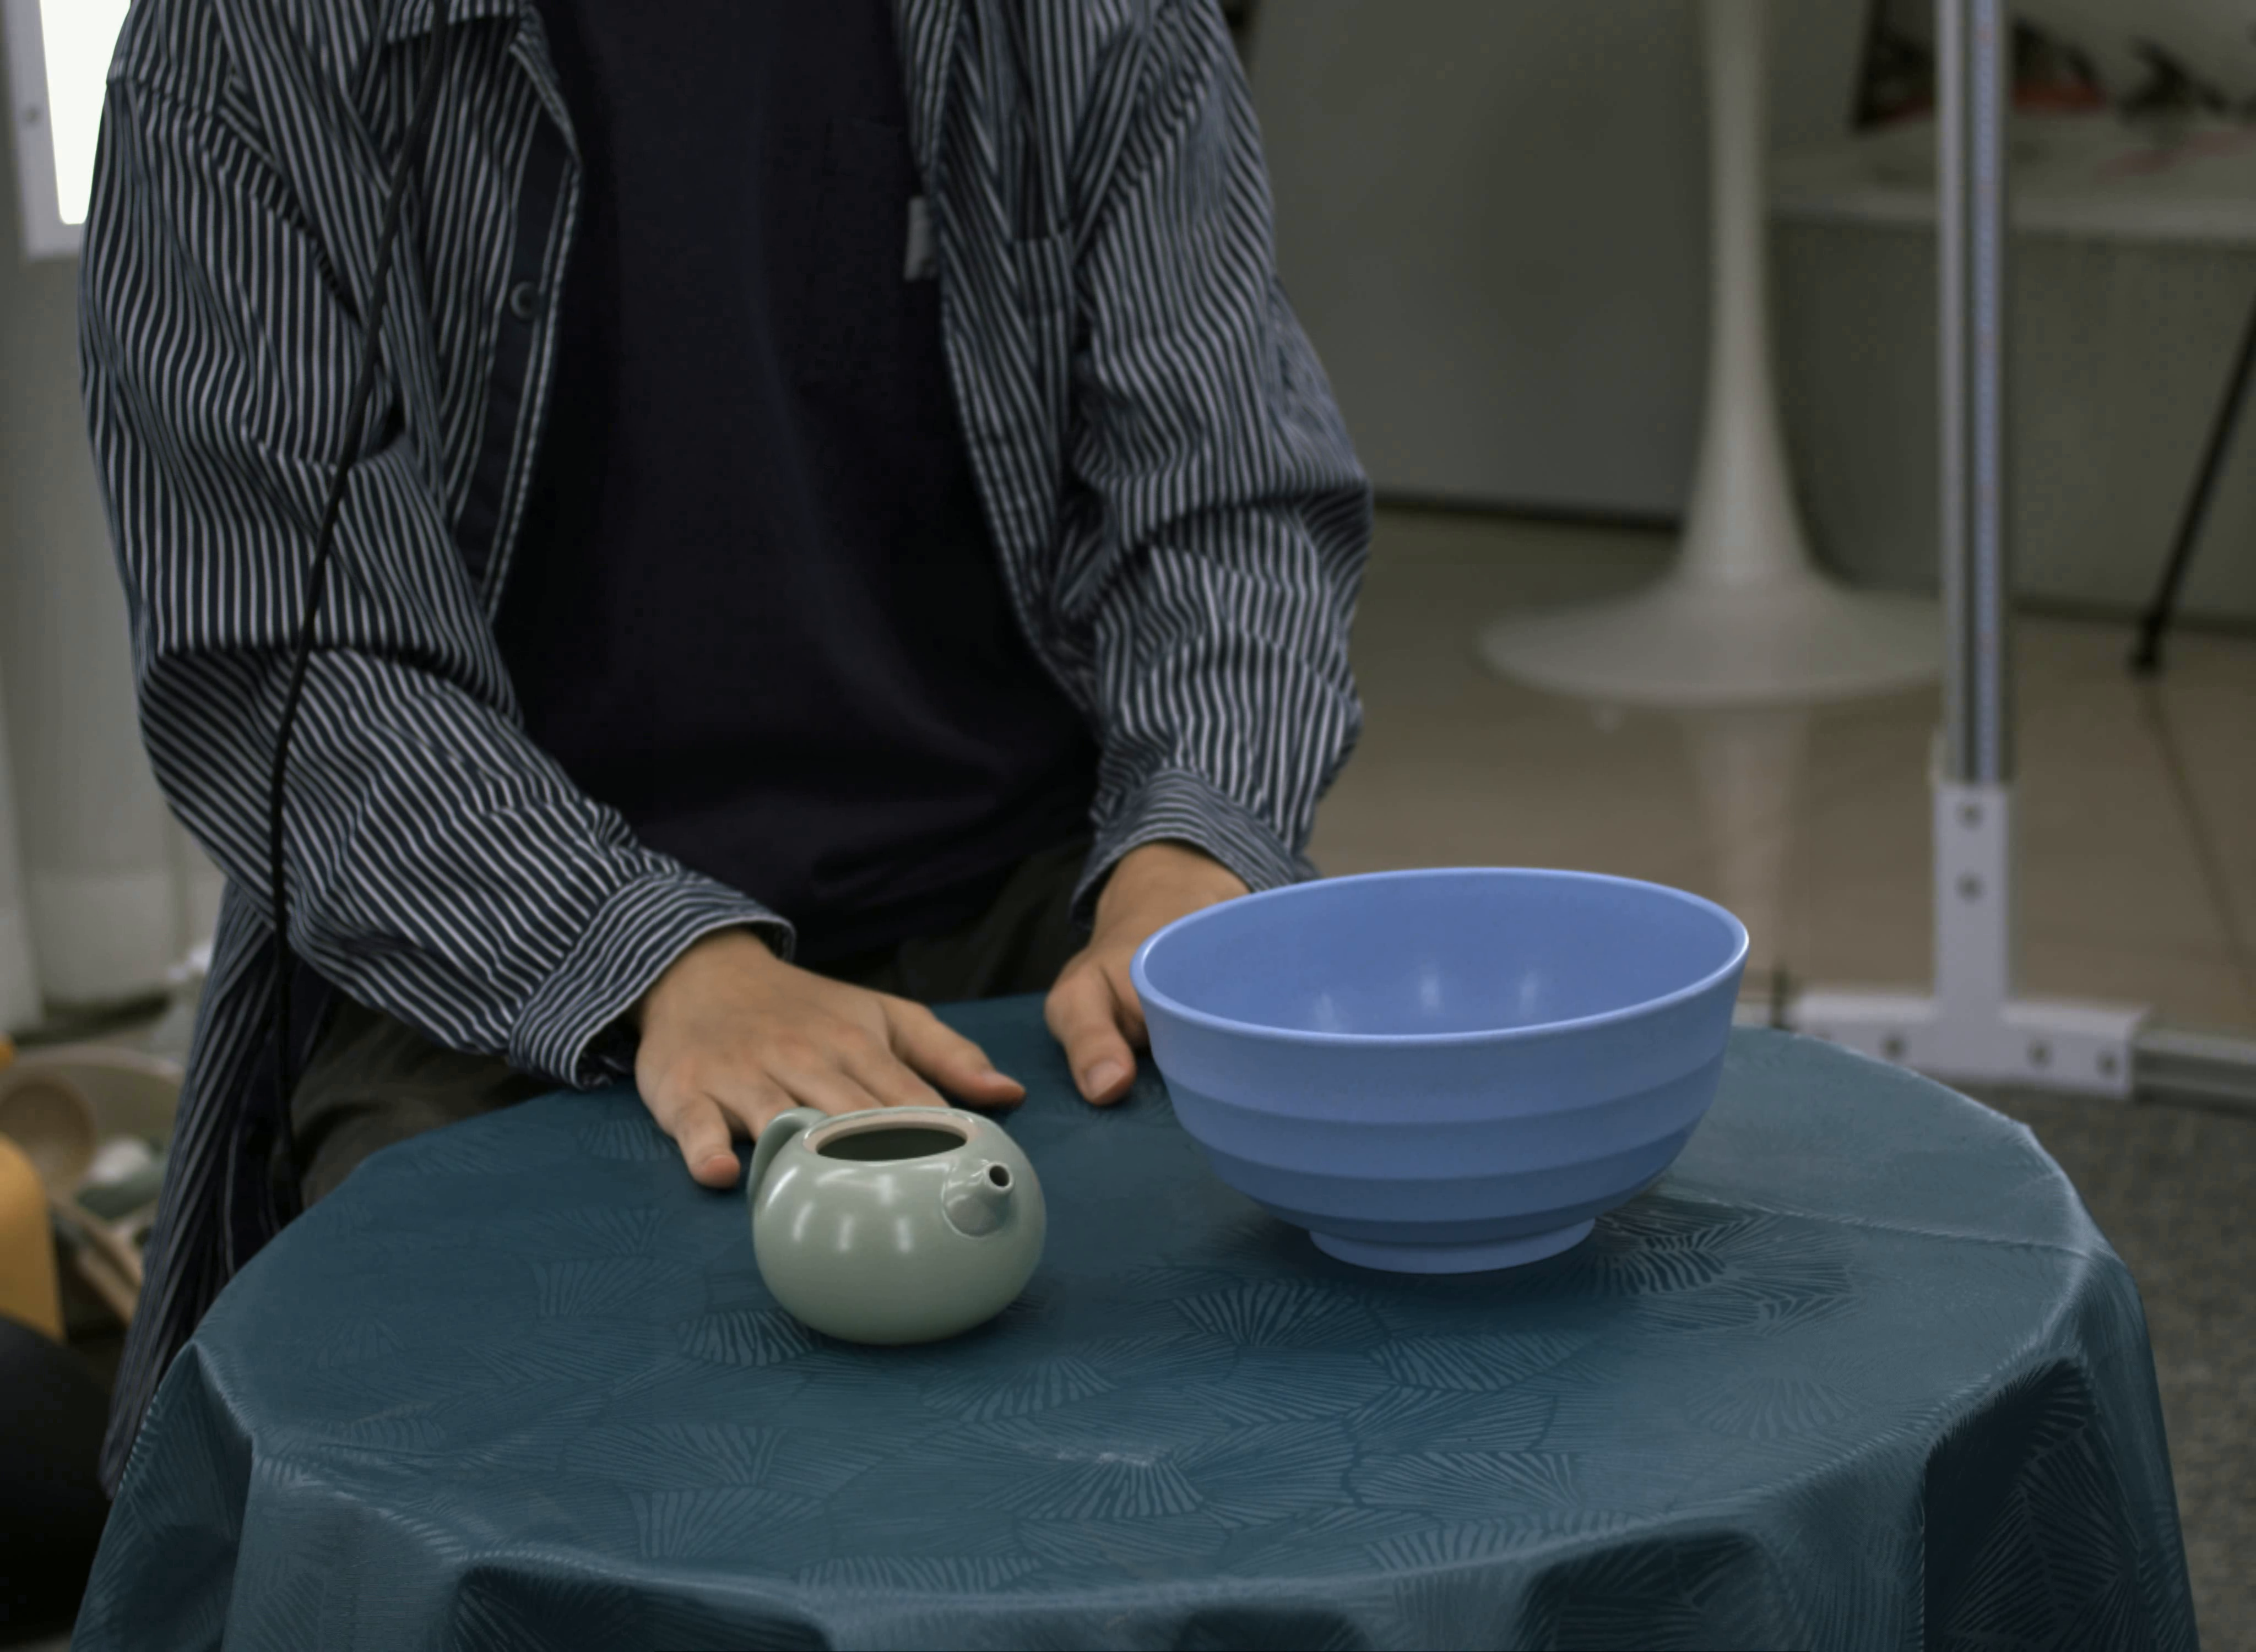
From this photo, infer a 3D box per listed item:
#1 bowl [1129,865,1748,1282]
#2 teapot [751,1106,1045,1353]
[{"bbox_3d":[0.100,0.084,1.698,0.194,0.096,0.197,-5,14,0],"label":"bowl"},{"bbox_3d":[-0.076,0.122,1.662,0.089,0.061,0.130,-15,17,-33],"label":"teapot"}]
